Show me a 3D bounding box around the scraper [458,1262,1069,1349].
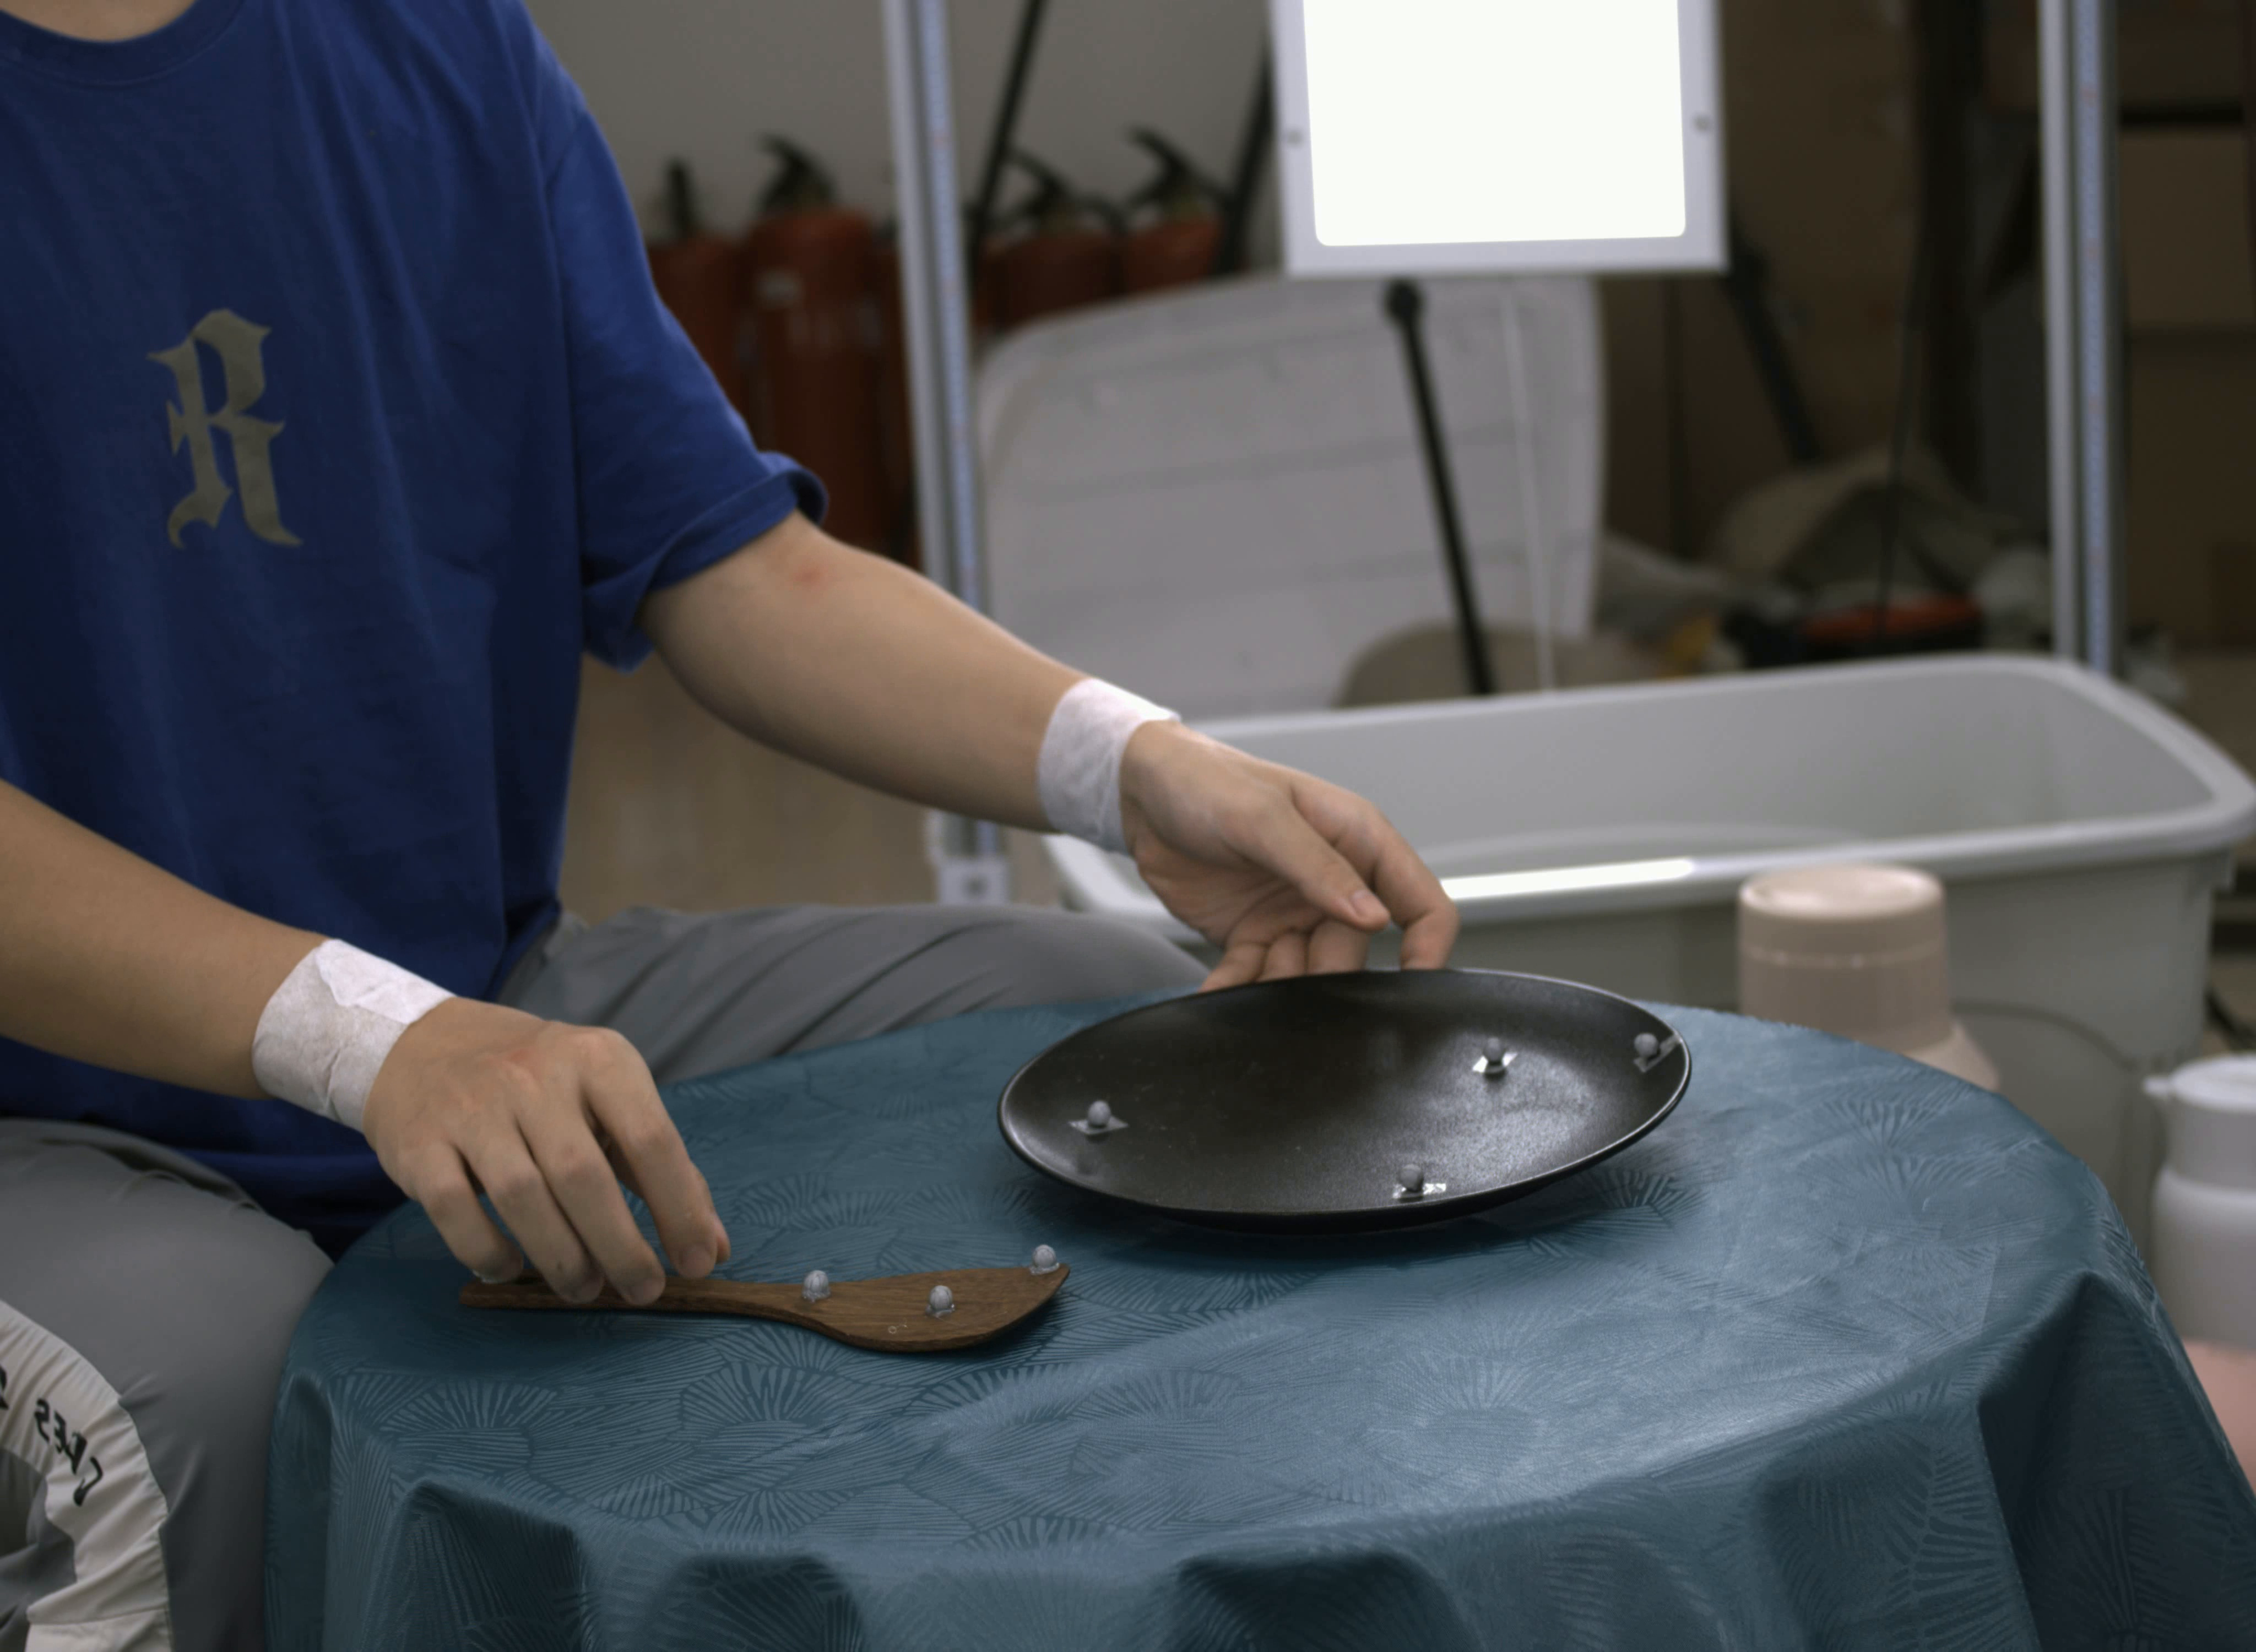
[{"bbox_3d":[-0.123,0.154,1.809,0.214,0.011,0.074,0,14,24],"label":"scraper"}]

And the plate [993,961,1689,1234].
[{"bbox_3d":[0.075,0.097,1.913,0.244,0.023,0.244,-6,18,0],"label":"plate"}]
